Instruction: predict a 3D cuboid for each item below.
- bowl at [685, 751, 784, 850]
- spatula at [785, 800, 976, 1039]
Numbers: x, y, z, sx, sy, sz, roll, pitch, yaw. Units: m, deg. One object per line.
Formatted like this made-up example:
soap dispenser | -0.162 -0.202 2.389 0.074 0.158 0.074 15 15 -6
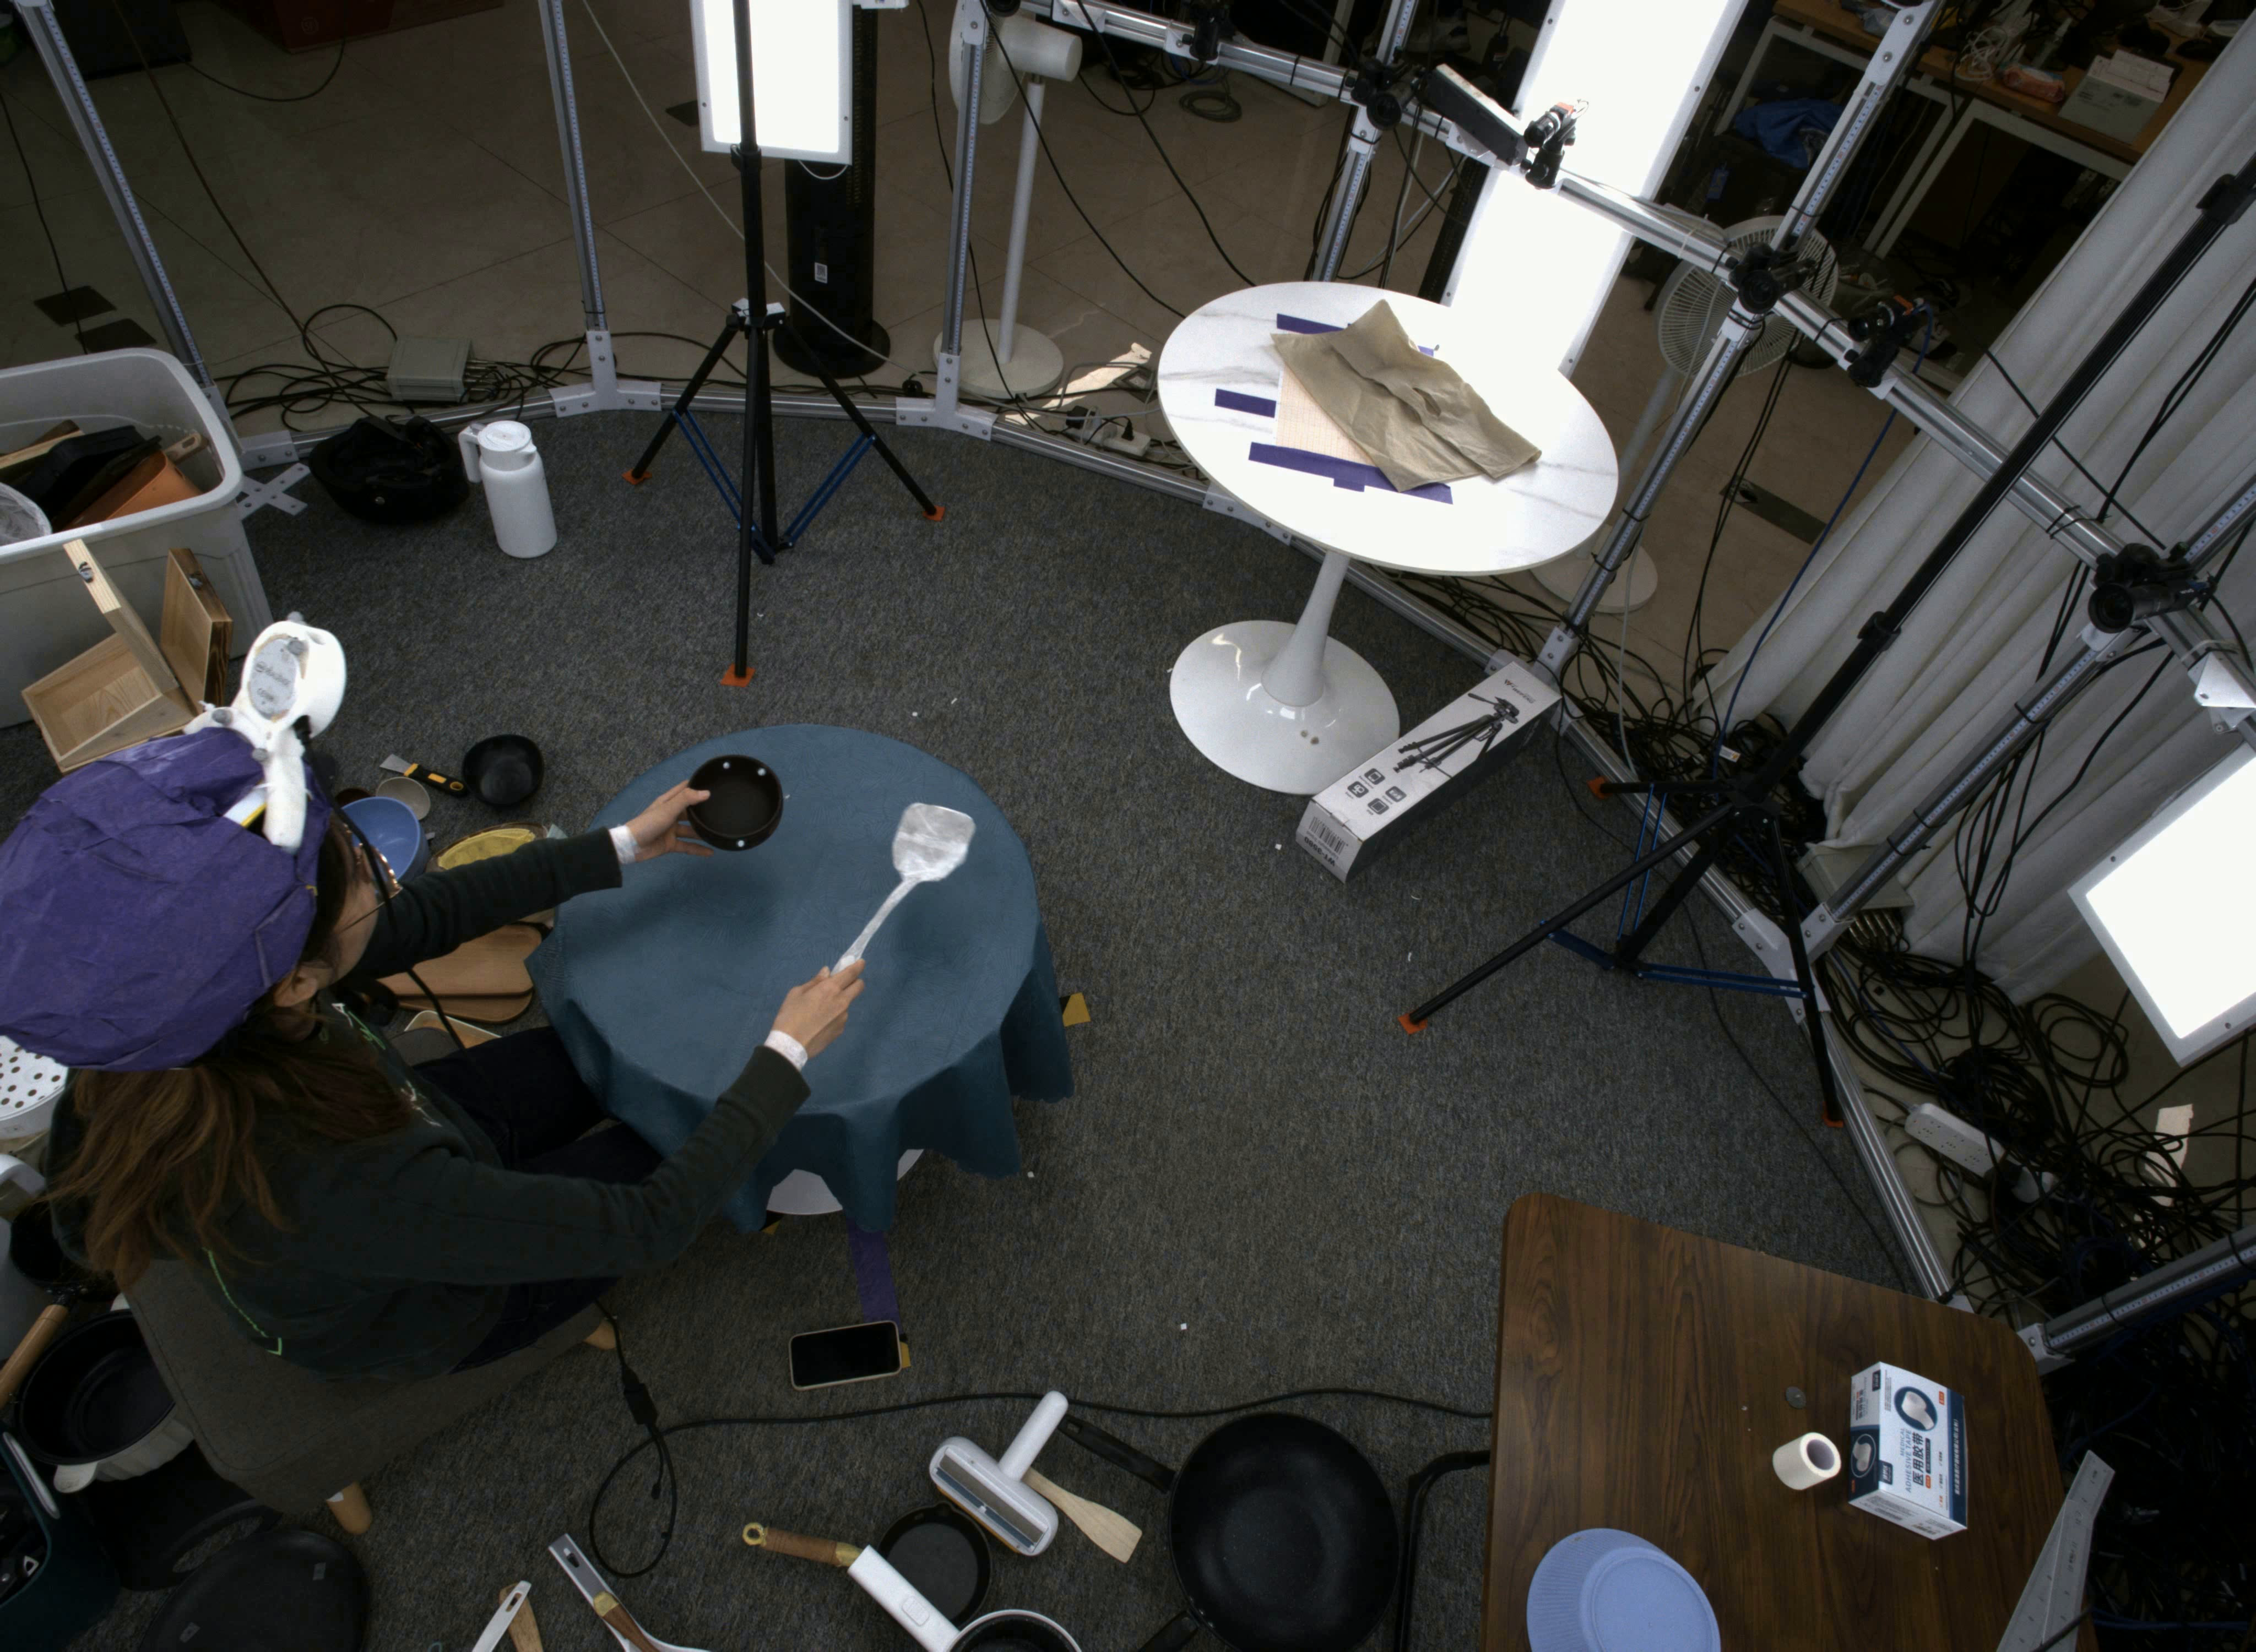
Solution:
bowl | -0.481 -0.025 1.582 0.118 0.071 0.116 8 60 -12
spatula | -0.297 0.103 1.527 0.096 0.046 0.362 19 47 15
